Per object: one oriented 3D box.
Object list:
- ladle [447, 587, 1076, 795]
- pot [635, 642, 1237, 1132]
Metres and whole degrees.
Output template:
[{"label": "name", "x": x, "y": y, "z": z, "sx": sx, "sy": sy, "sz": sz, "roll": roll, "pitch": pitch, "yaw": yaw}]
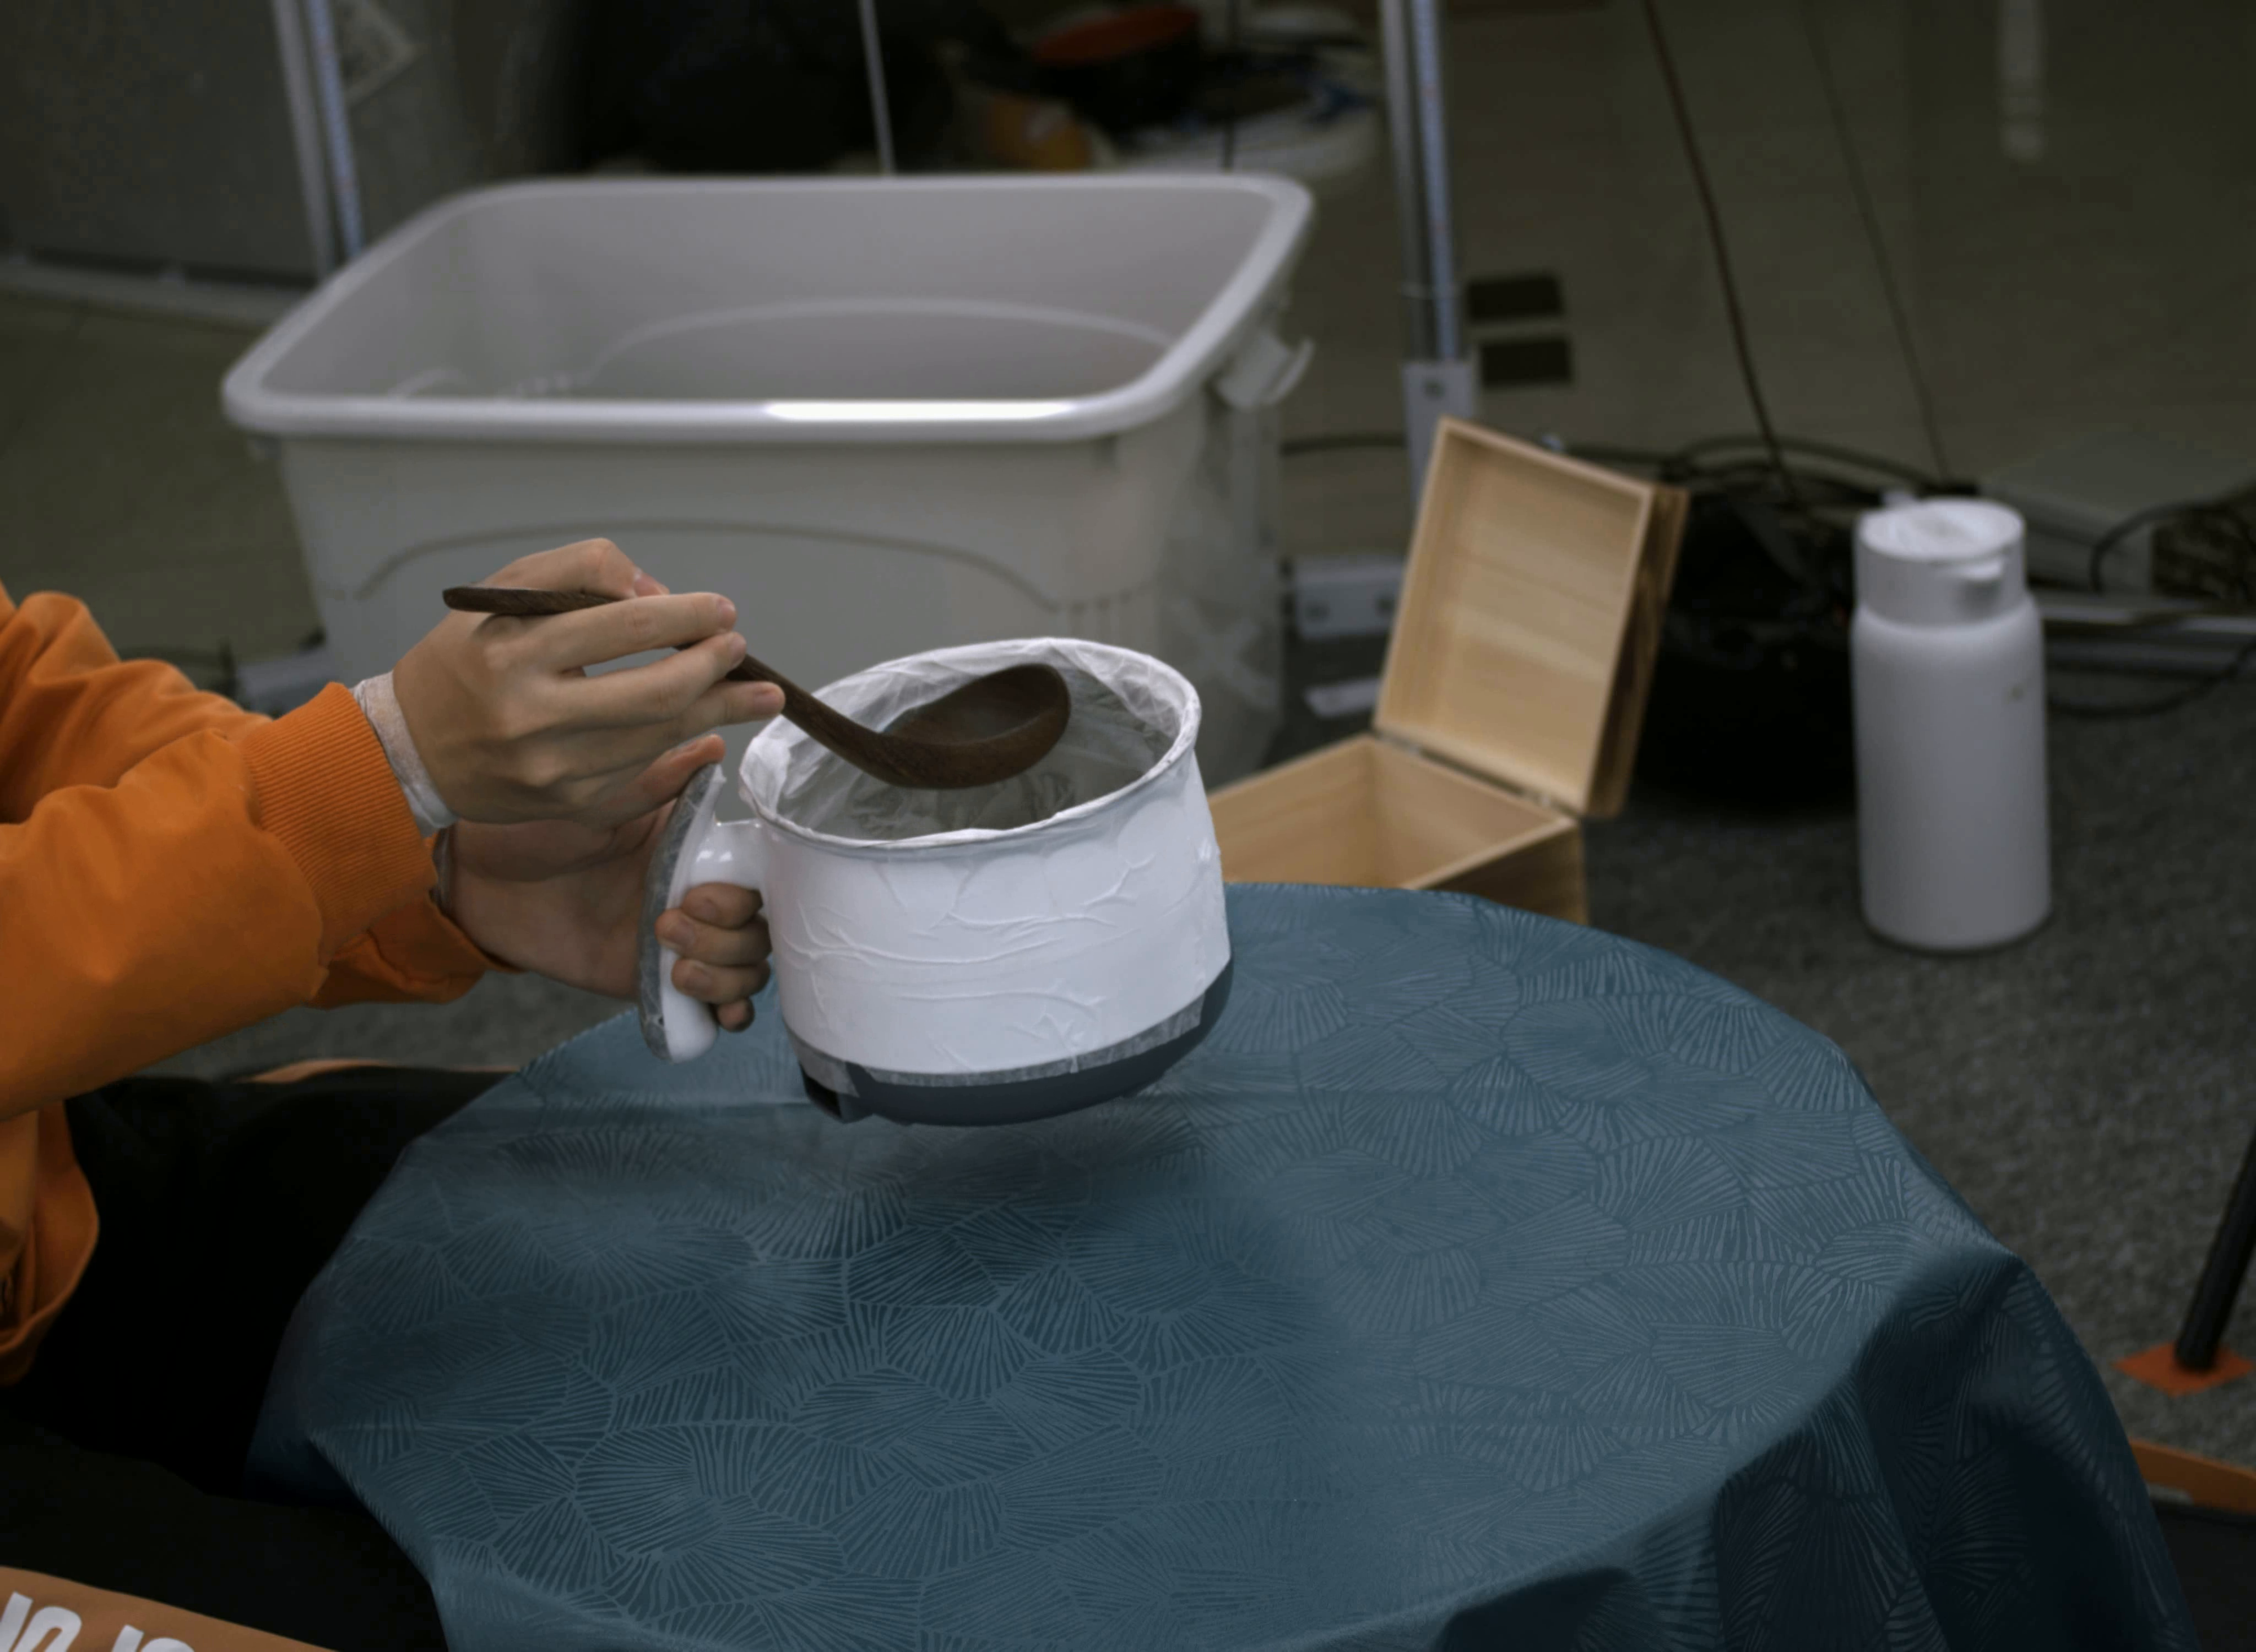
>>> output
[{"label": "ladle", "x": -0.133, "y": -0.071, "z": 2.101, "sx": 0.276, "sy": 0.071, "sz": 0.076, "roll": 23, "pitch": -17, "yaw": -39}, {"label": "pot", "x": -0.078, "y": 0.029, "z": 2.161, "sx": 0.233, "sy": 0.139, "sz": 0.176, "roll": -9, "pitch": 26, "yaw": 2}]
